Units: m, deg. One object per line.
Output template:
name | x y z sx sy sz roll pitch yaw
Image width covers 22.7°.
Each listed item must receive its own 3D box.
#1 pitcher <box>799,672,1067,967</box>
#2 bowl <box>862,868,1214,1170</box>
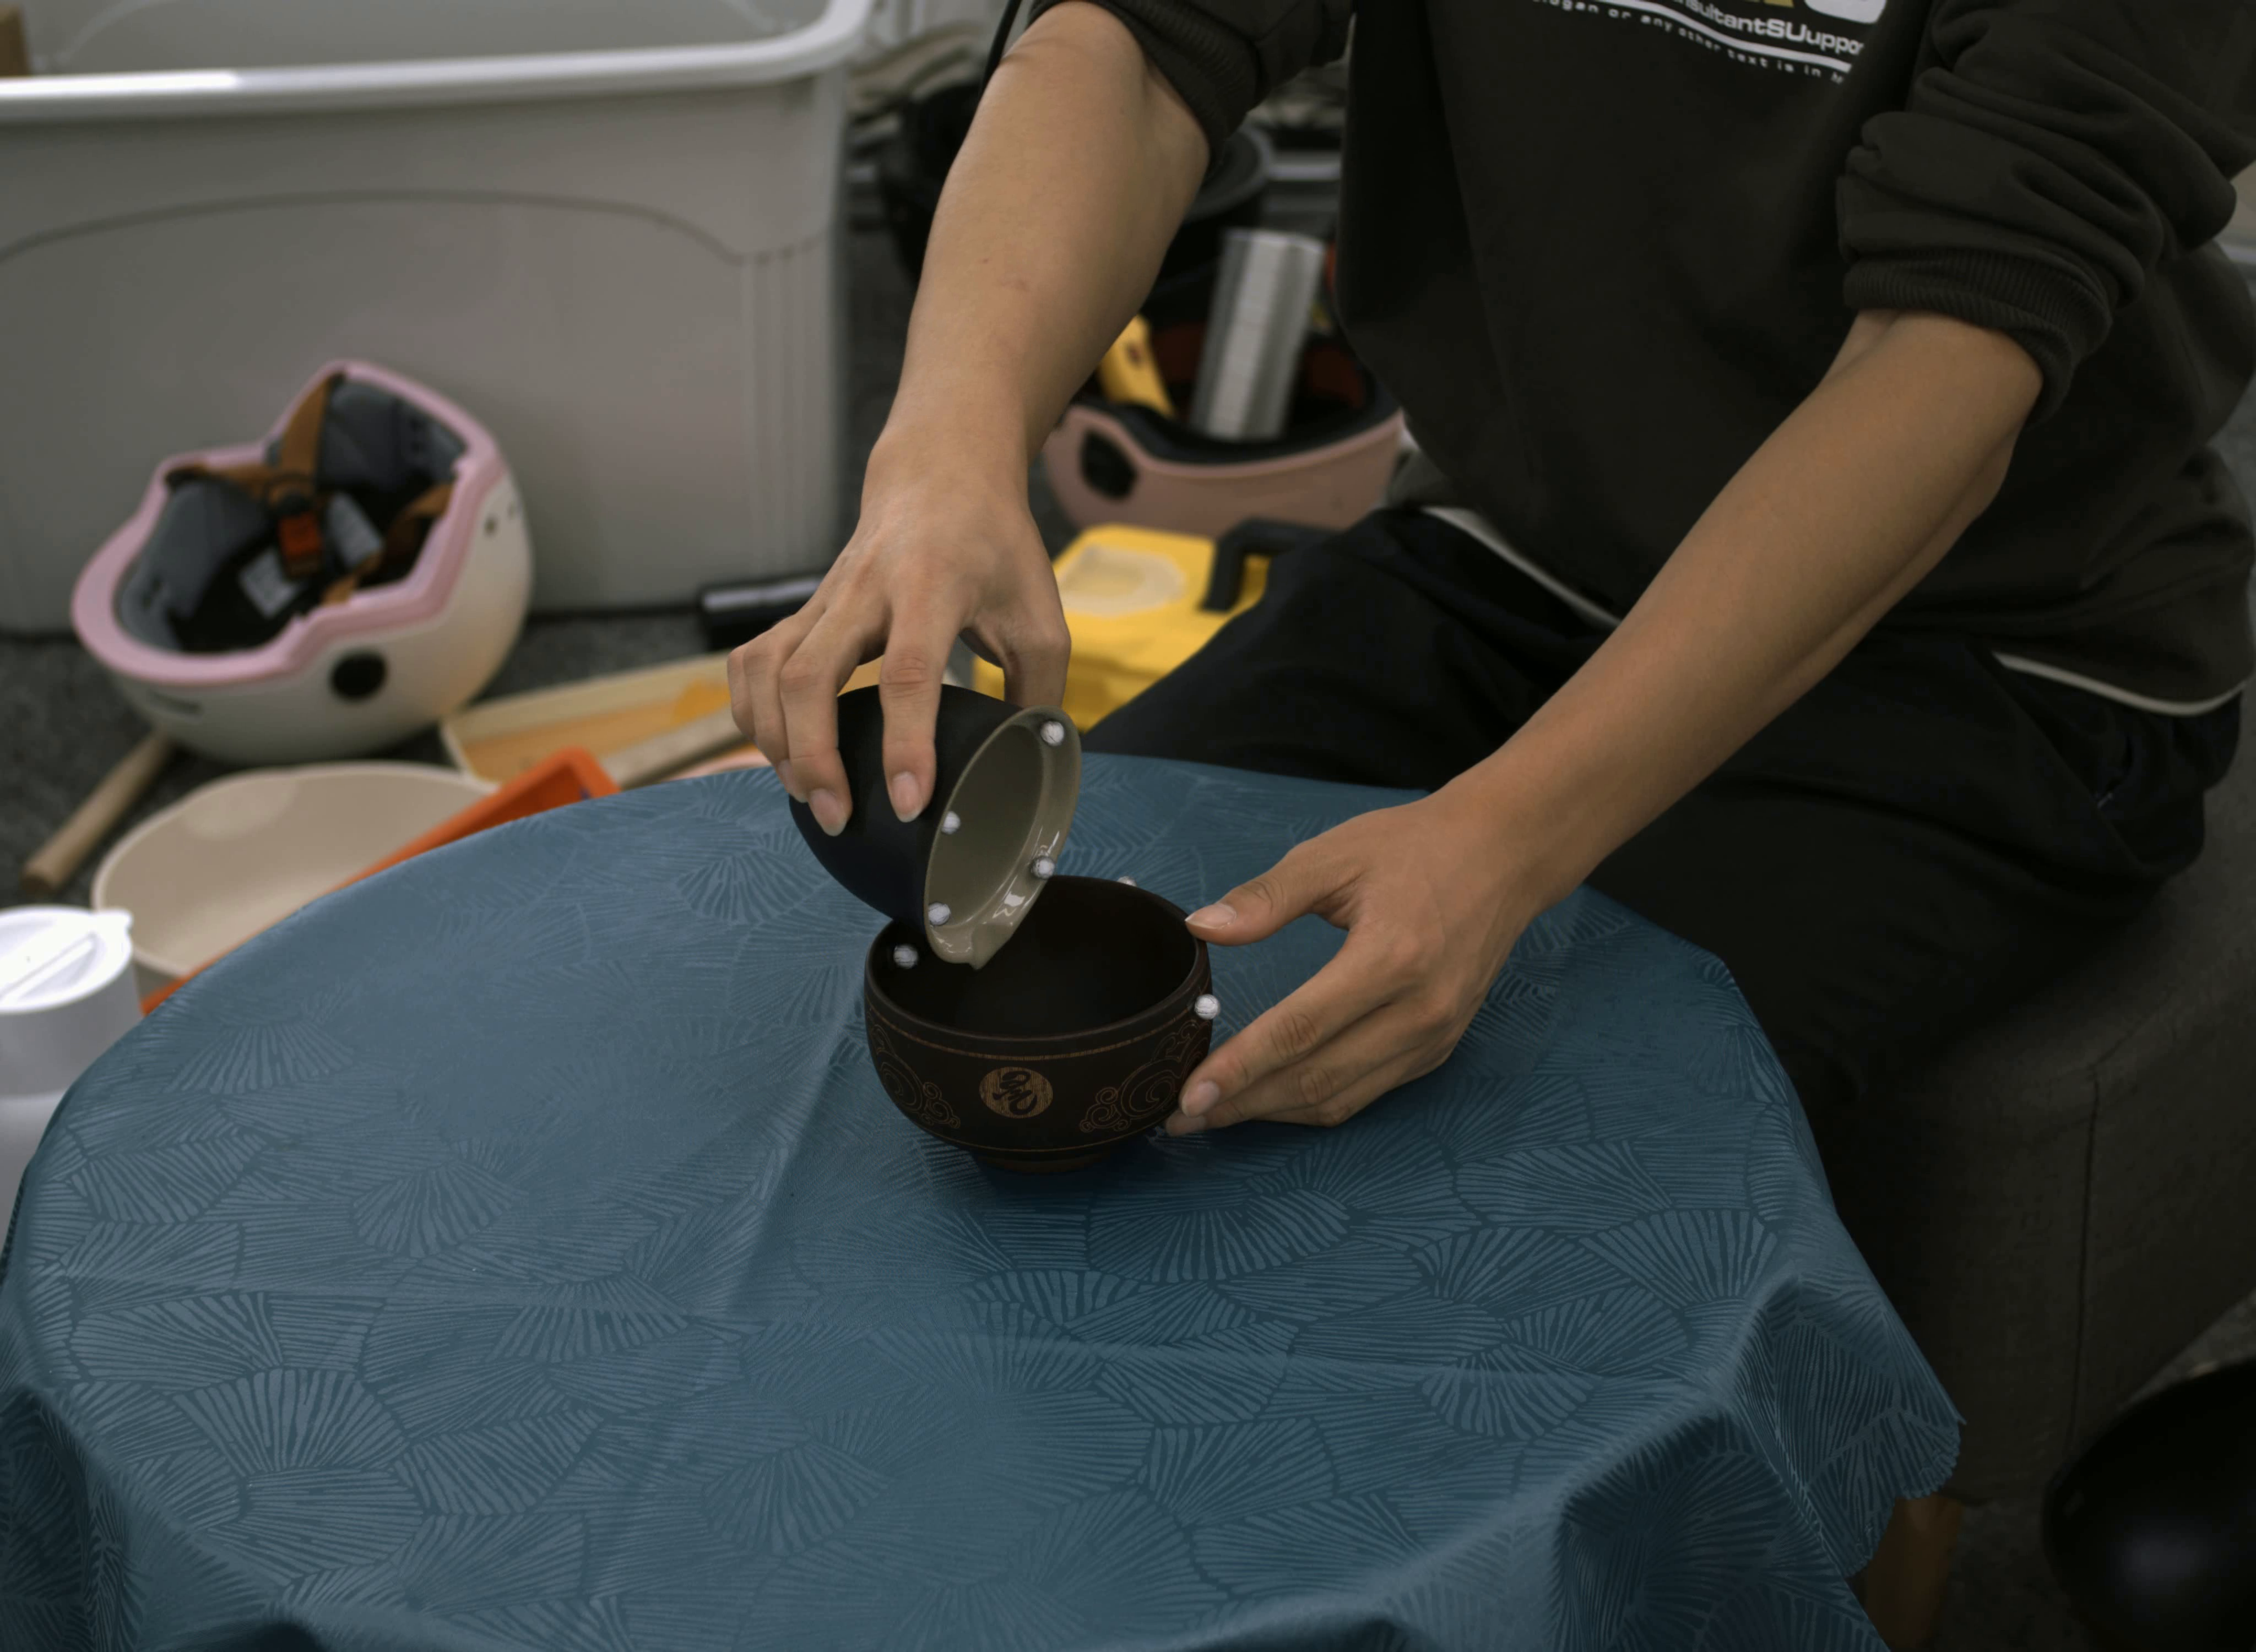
pitcher | -0.068 -0.008 1.879 0.071 0.095 0.085 24 27 22
bowl | -0.029 0.072 1.887 0.117 0.069 0.120 -3 28 2
